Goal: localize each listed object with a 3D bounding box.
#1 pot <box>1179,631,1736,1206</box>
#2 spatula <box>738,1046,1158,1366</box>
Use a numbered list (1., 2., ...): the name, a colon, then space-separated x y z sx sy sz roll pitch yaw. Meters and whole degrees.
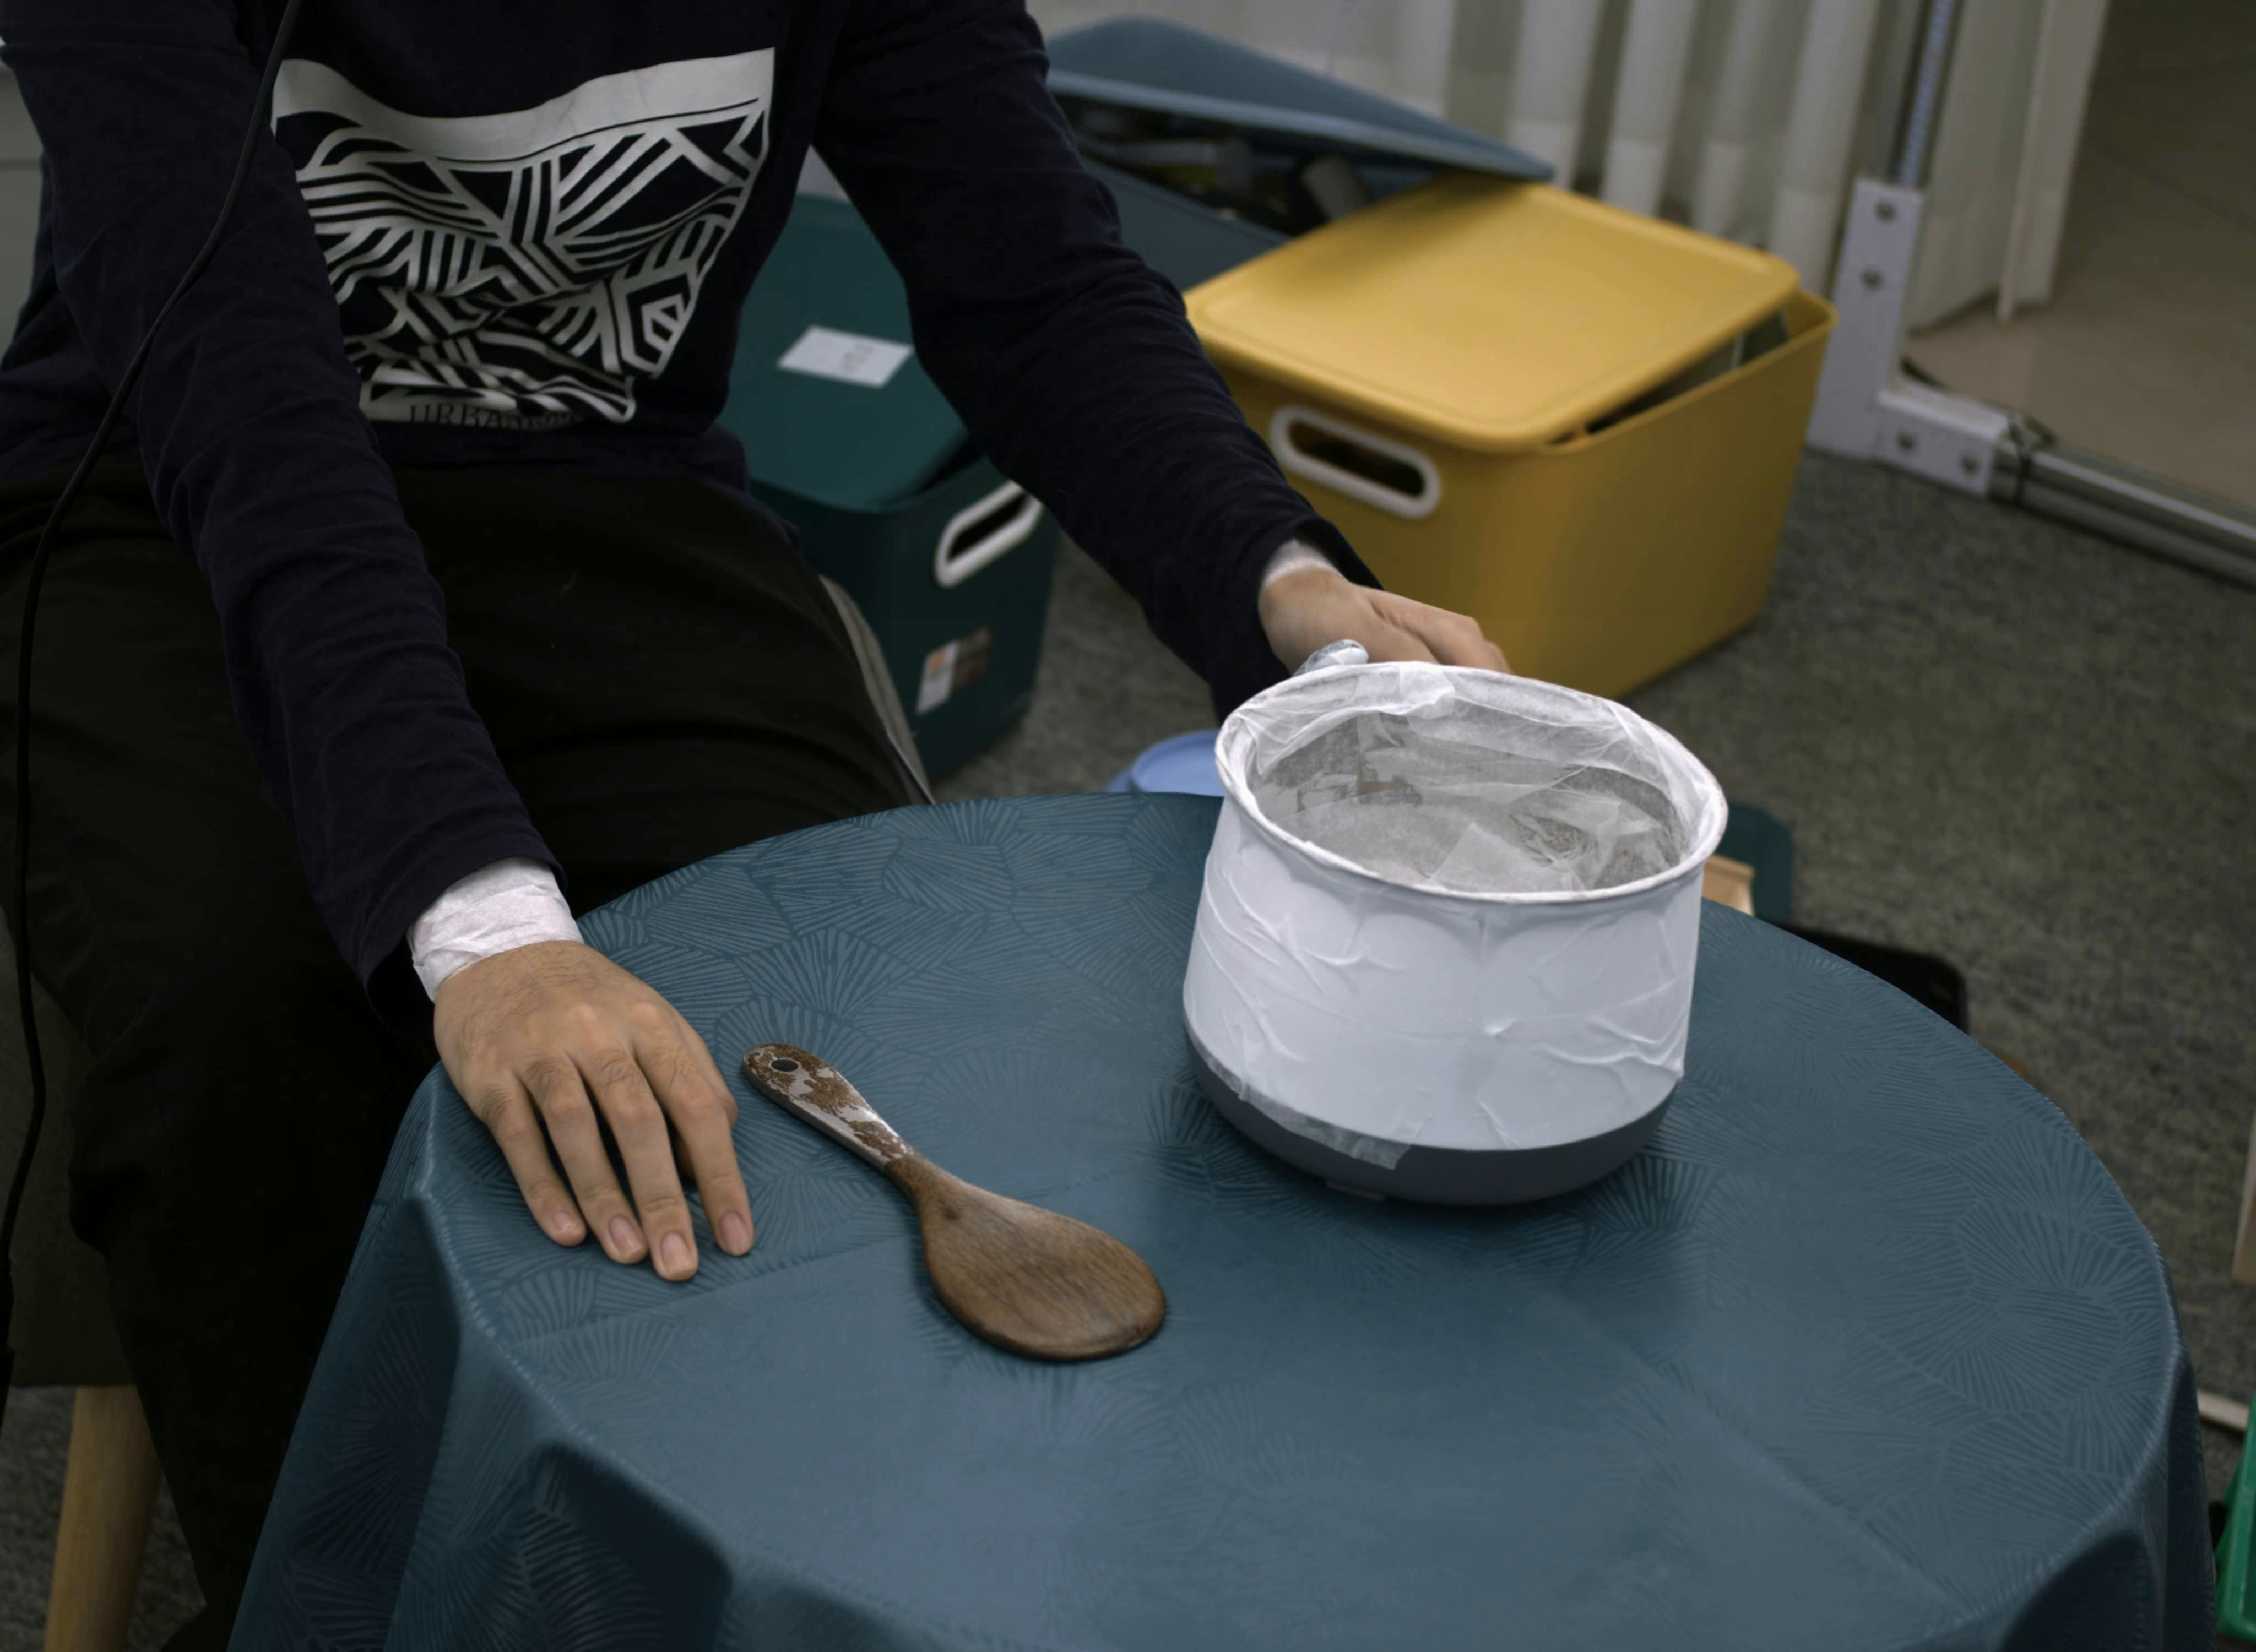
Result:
1. pot: 0.099 0.025 1.867 0.177 0.136 0.236 -4 30 -26
2. spatula: -0.067 0.123 1.785 0.071 0.009 0.217 -11 31 -34
